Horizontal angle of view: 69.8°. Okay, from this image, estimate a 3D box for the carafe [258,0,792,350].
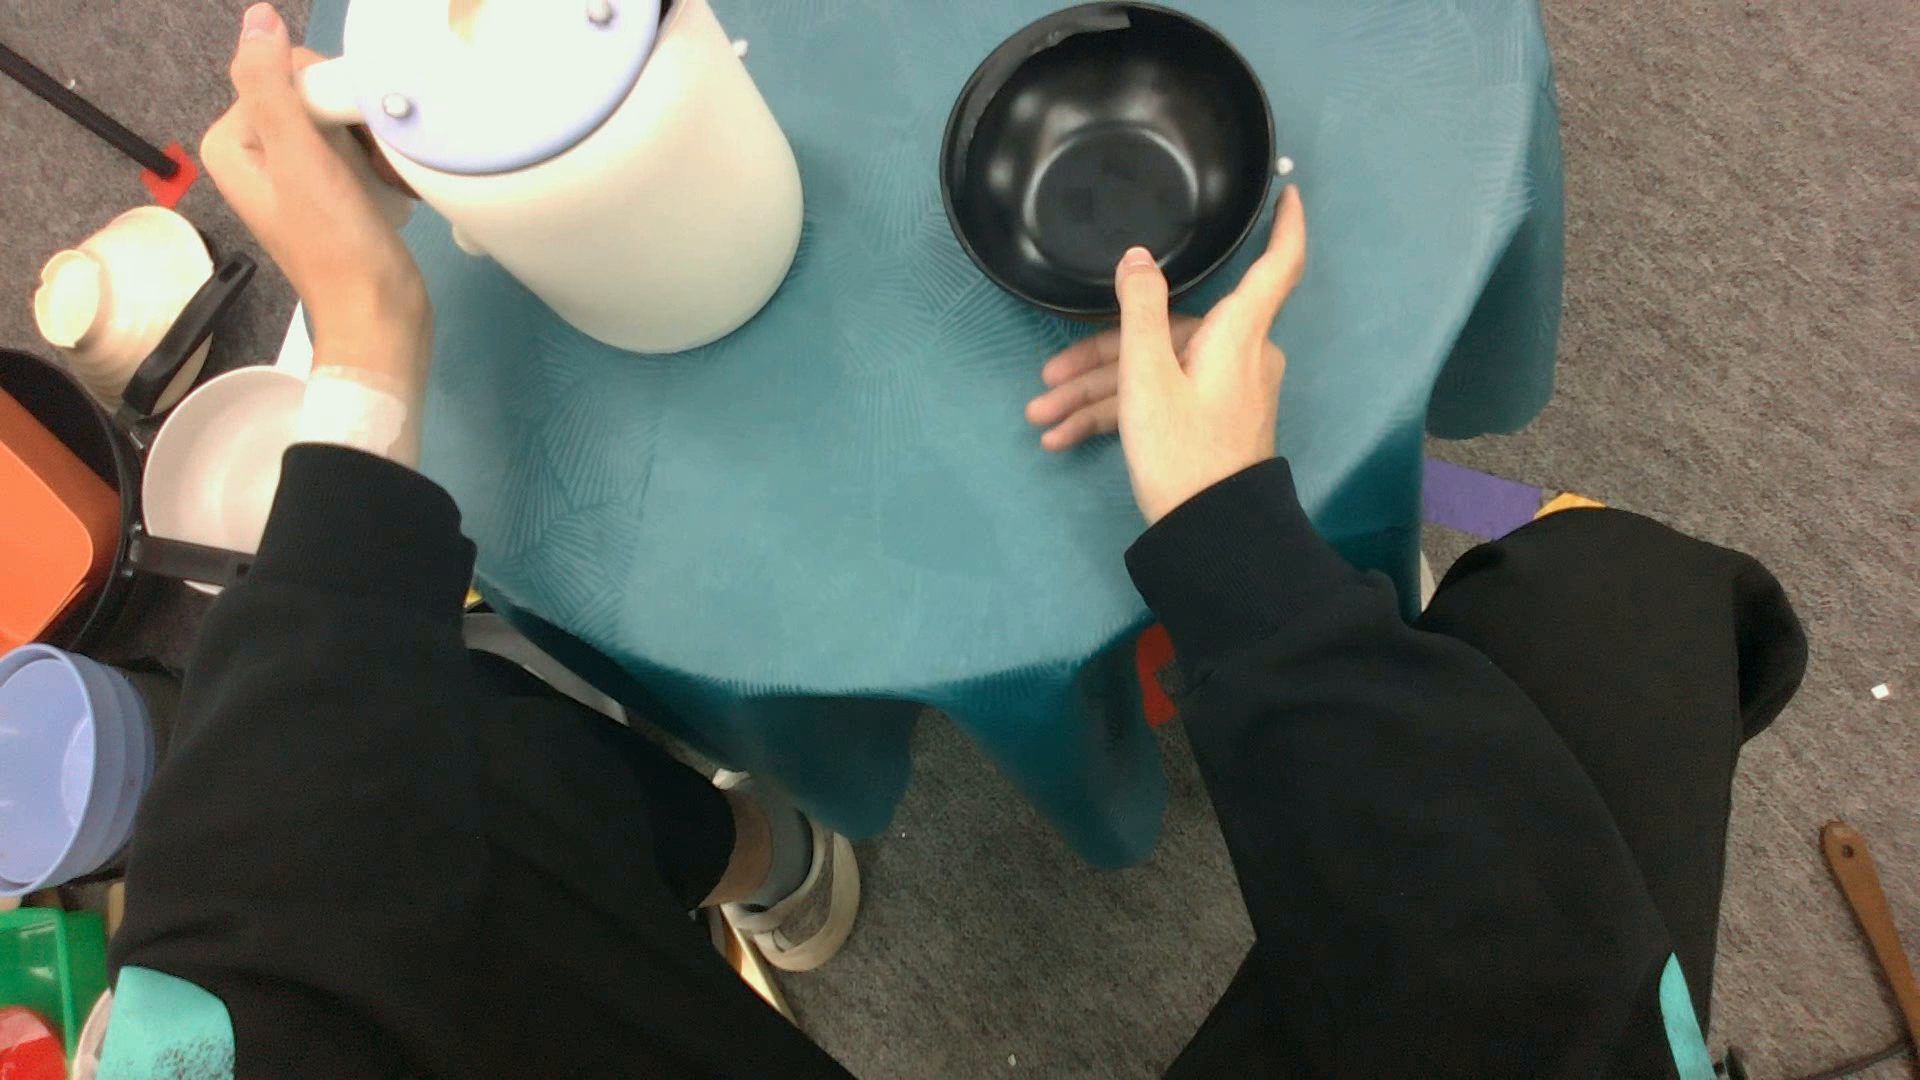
[{"bbox_3d":[-0.177,-0.162,0.567,0.191,0.182,0.132,-10,75,9],"label":"carafe"}]

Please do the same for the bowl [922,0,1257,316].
[{"bbox_3d":[0.056,-0.157,0.593,0.140,0.050,0.140,-2,79,9],"label":"bowl"}]
